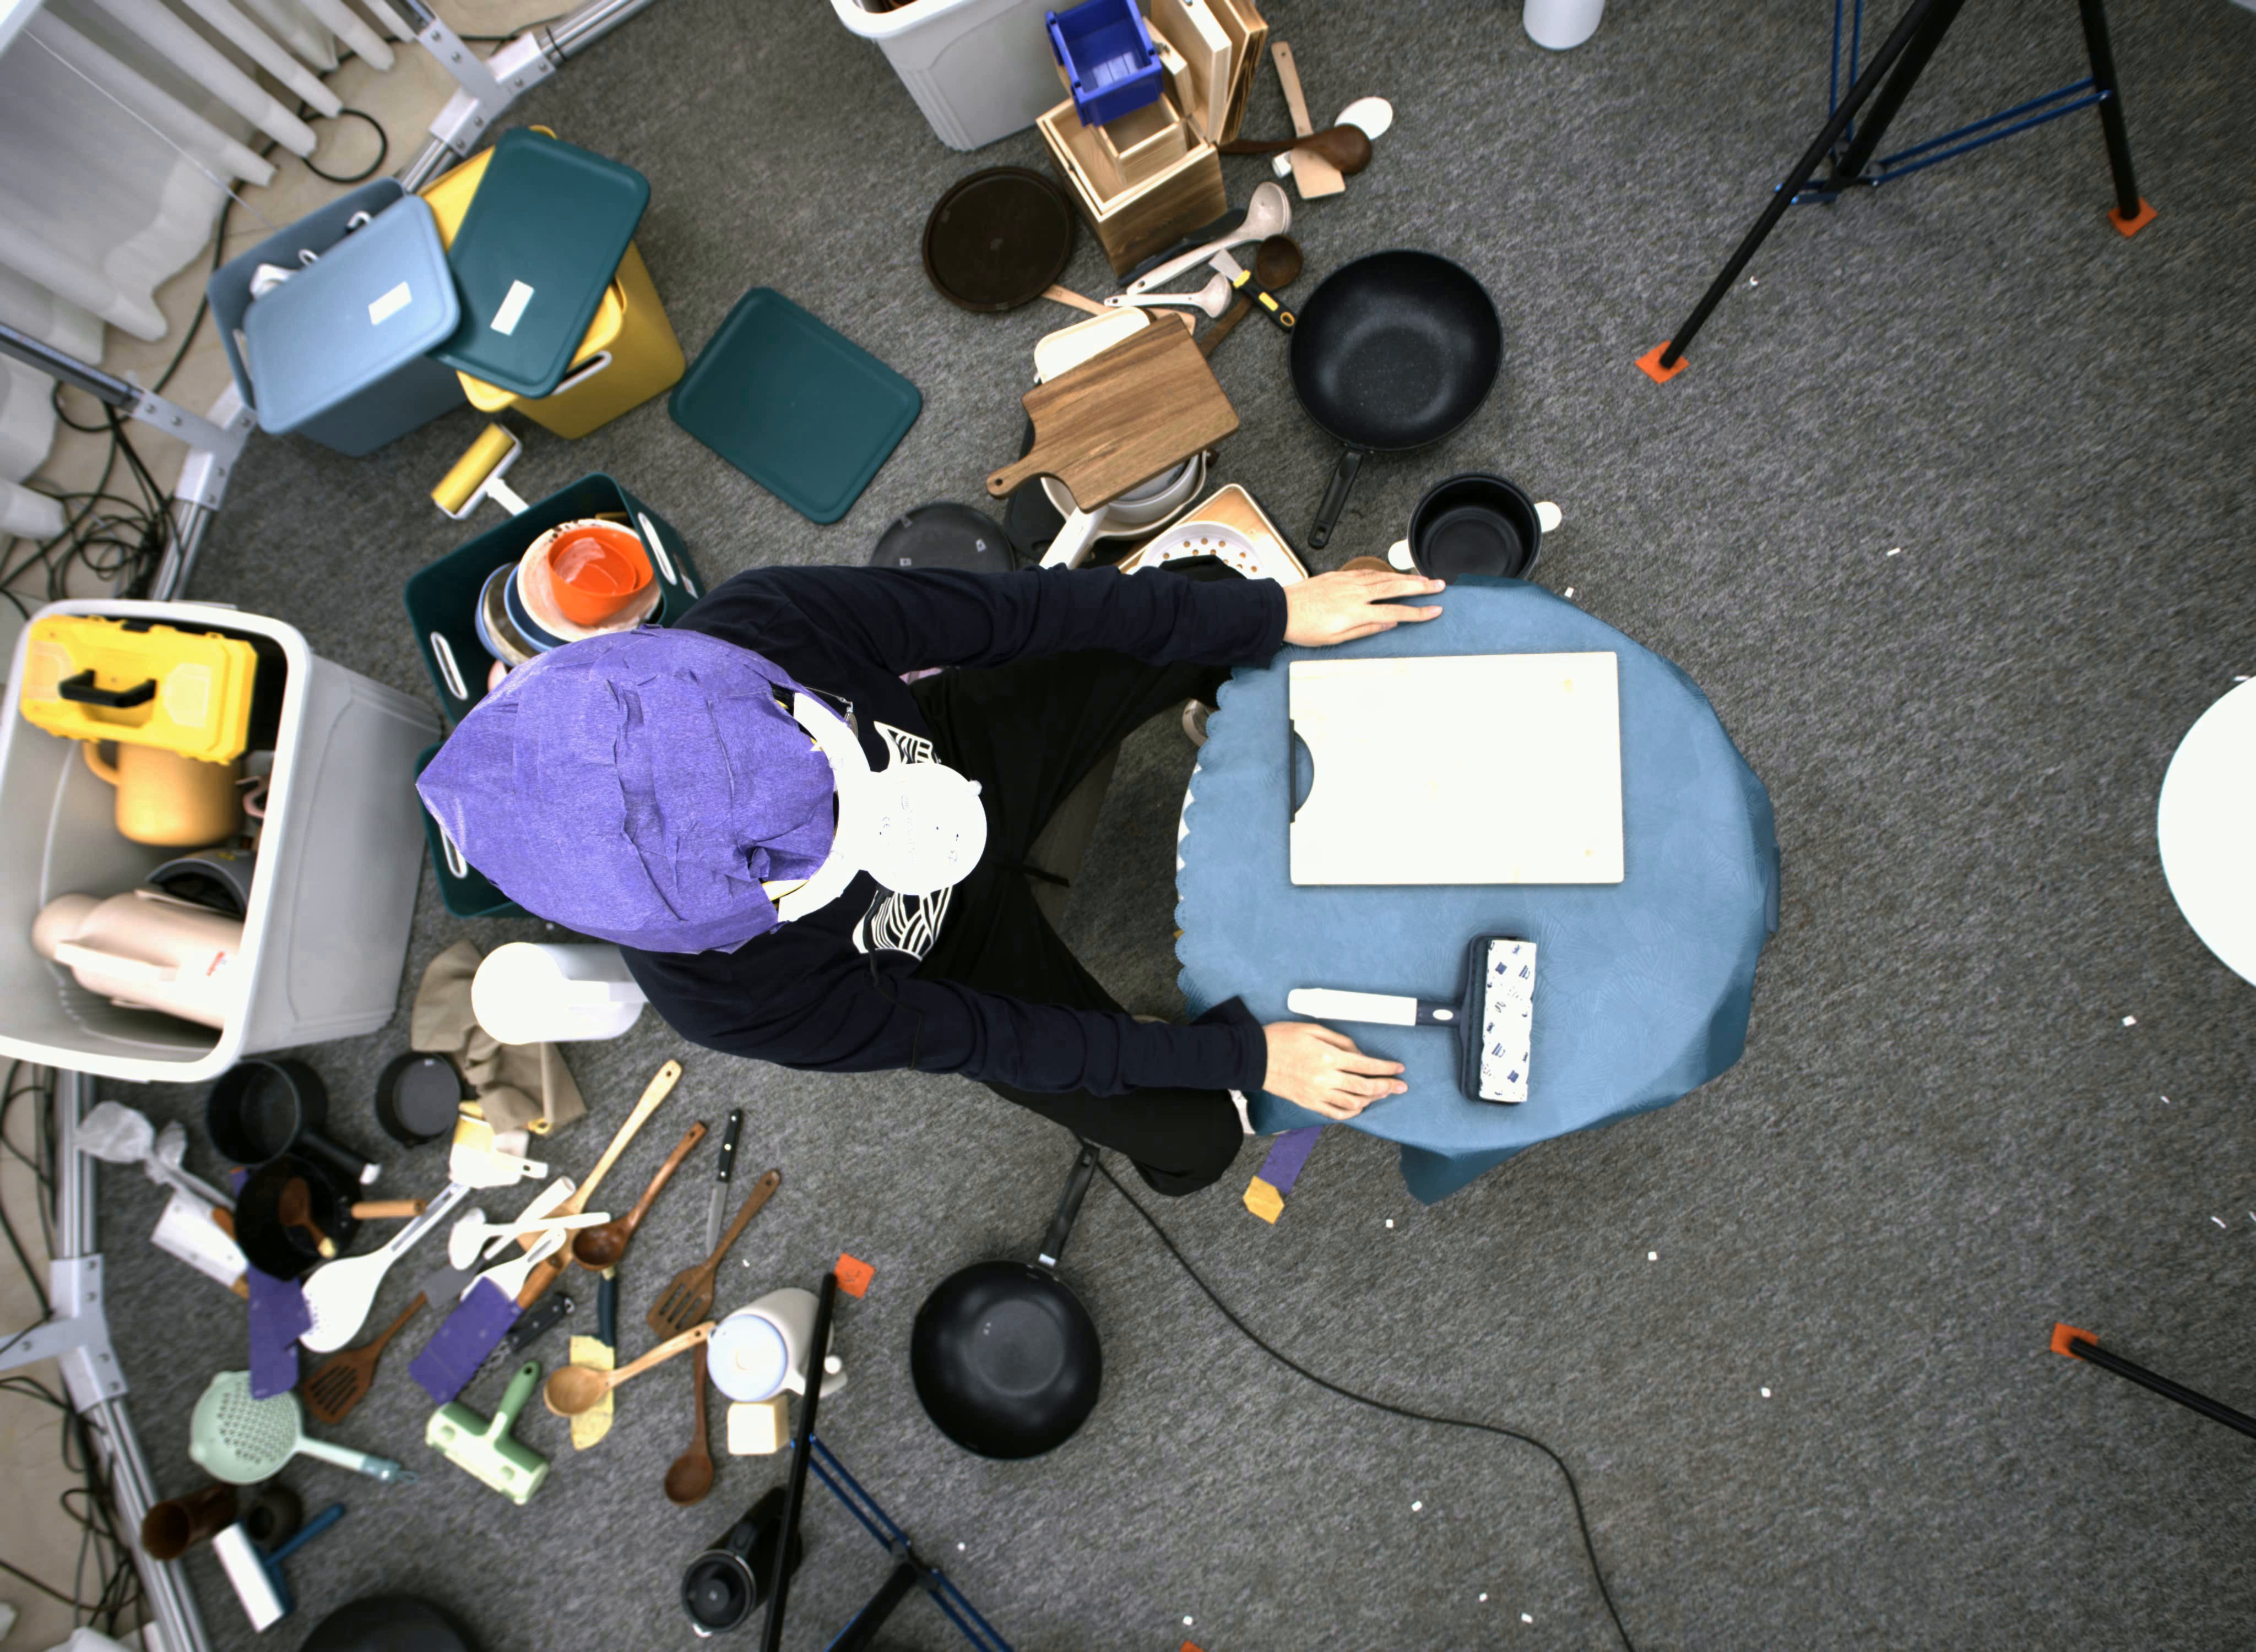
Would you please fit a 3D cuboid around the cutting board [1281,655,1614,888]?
[{"bbox_3d":[0.336,-0.060,1.447,0.350,0.023,0.249,-1,86,11],"label":"cutting board"}]

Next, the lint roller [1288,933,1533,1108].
[{"bbox_3d":[0.288,0.191,1.429,0.248,0.050,0.176,3,88,13],"label":"lint roller"}]
